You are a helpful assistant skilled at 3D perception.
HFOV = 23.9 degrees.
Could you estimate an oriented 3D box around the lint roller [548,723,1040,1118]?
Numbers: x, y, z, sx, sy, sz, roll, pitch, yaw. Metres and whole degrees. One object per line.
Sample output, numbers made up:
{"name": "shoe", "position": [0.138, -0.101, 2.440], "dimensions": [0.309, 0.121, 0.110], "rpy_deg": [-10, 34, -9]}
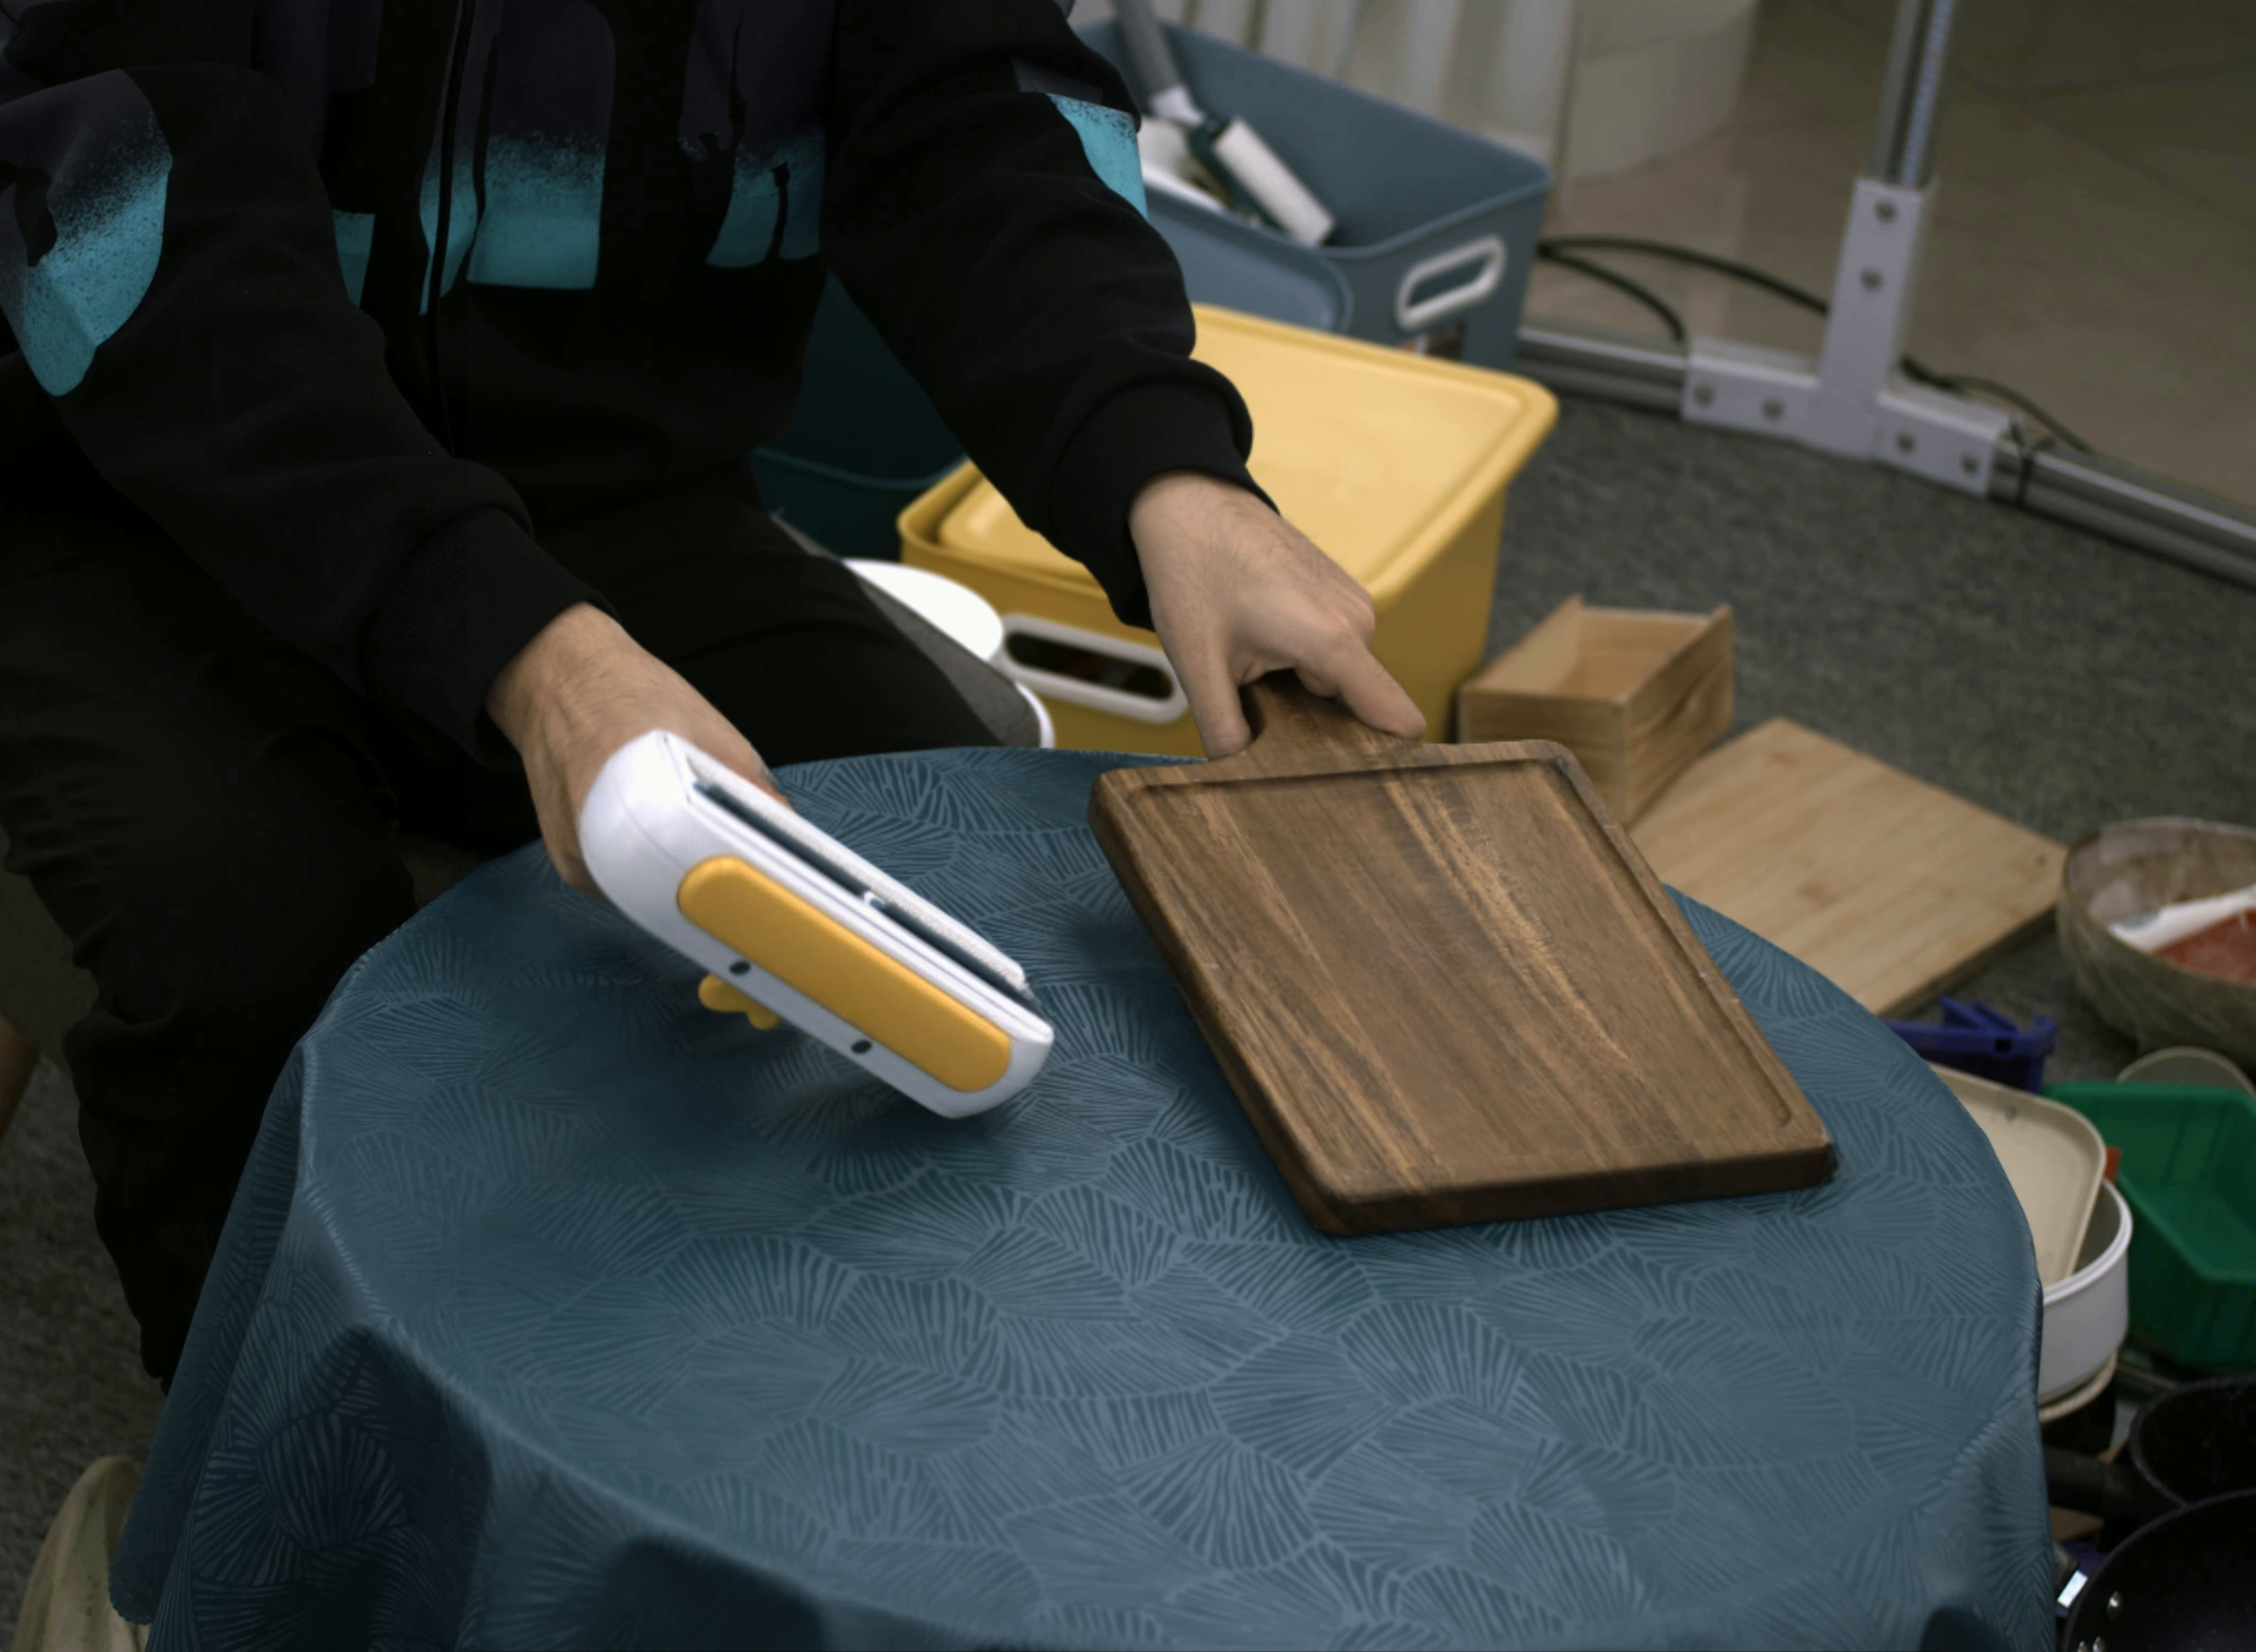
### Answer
{"name": "lint roller", "position": [-0.133, 0.016, 1.837], "dimensions": [0.191, 0.074, 0.194], "rpy_deg": [29, 11, -29]}

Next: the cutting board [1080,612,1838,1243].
{"name": "cutting board", "position": [0.098, 0.025, 1.942], "dimensions": [0.200, 0.023, 0.355], "rpy_deg": [-5, 36, -20]}
